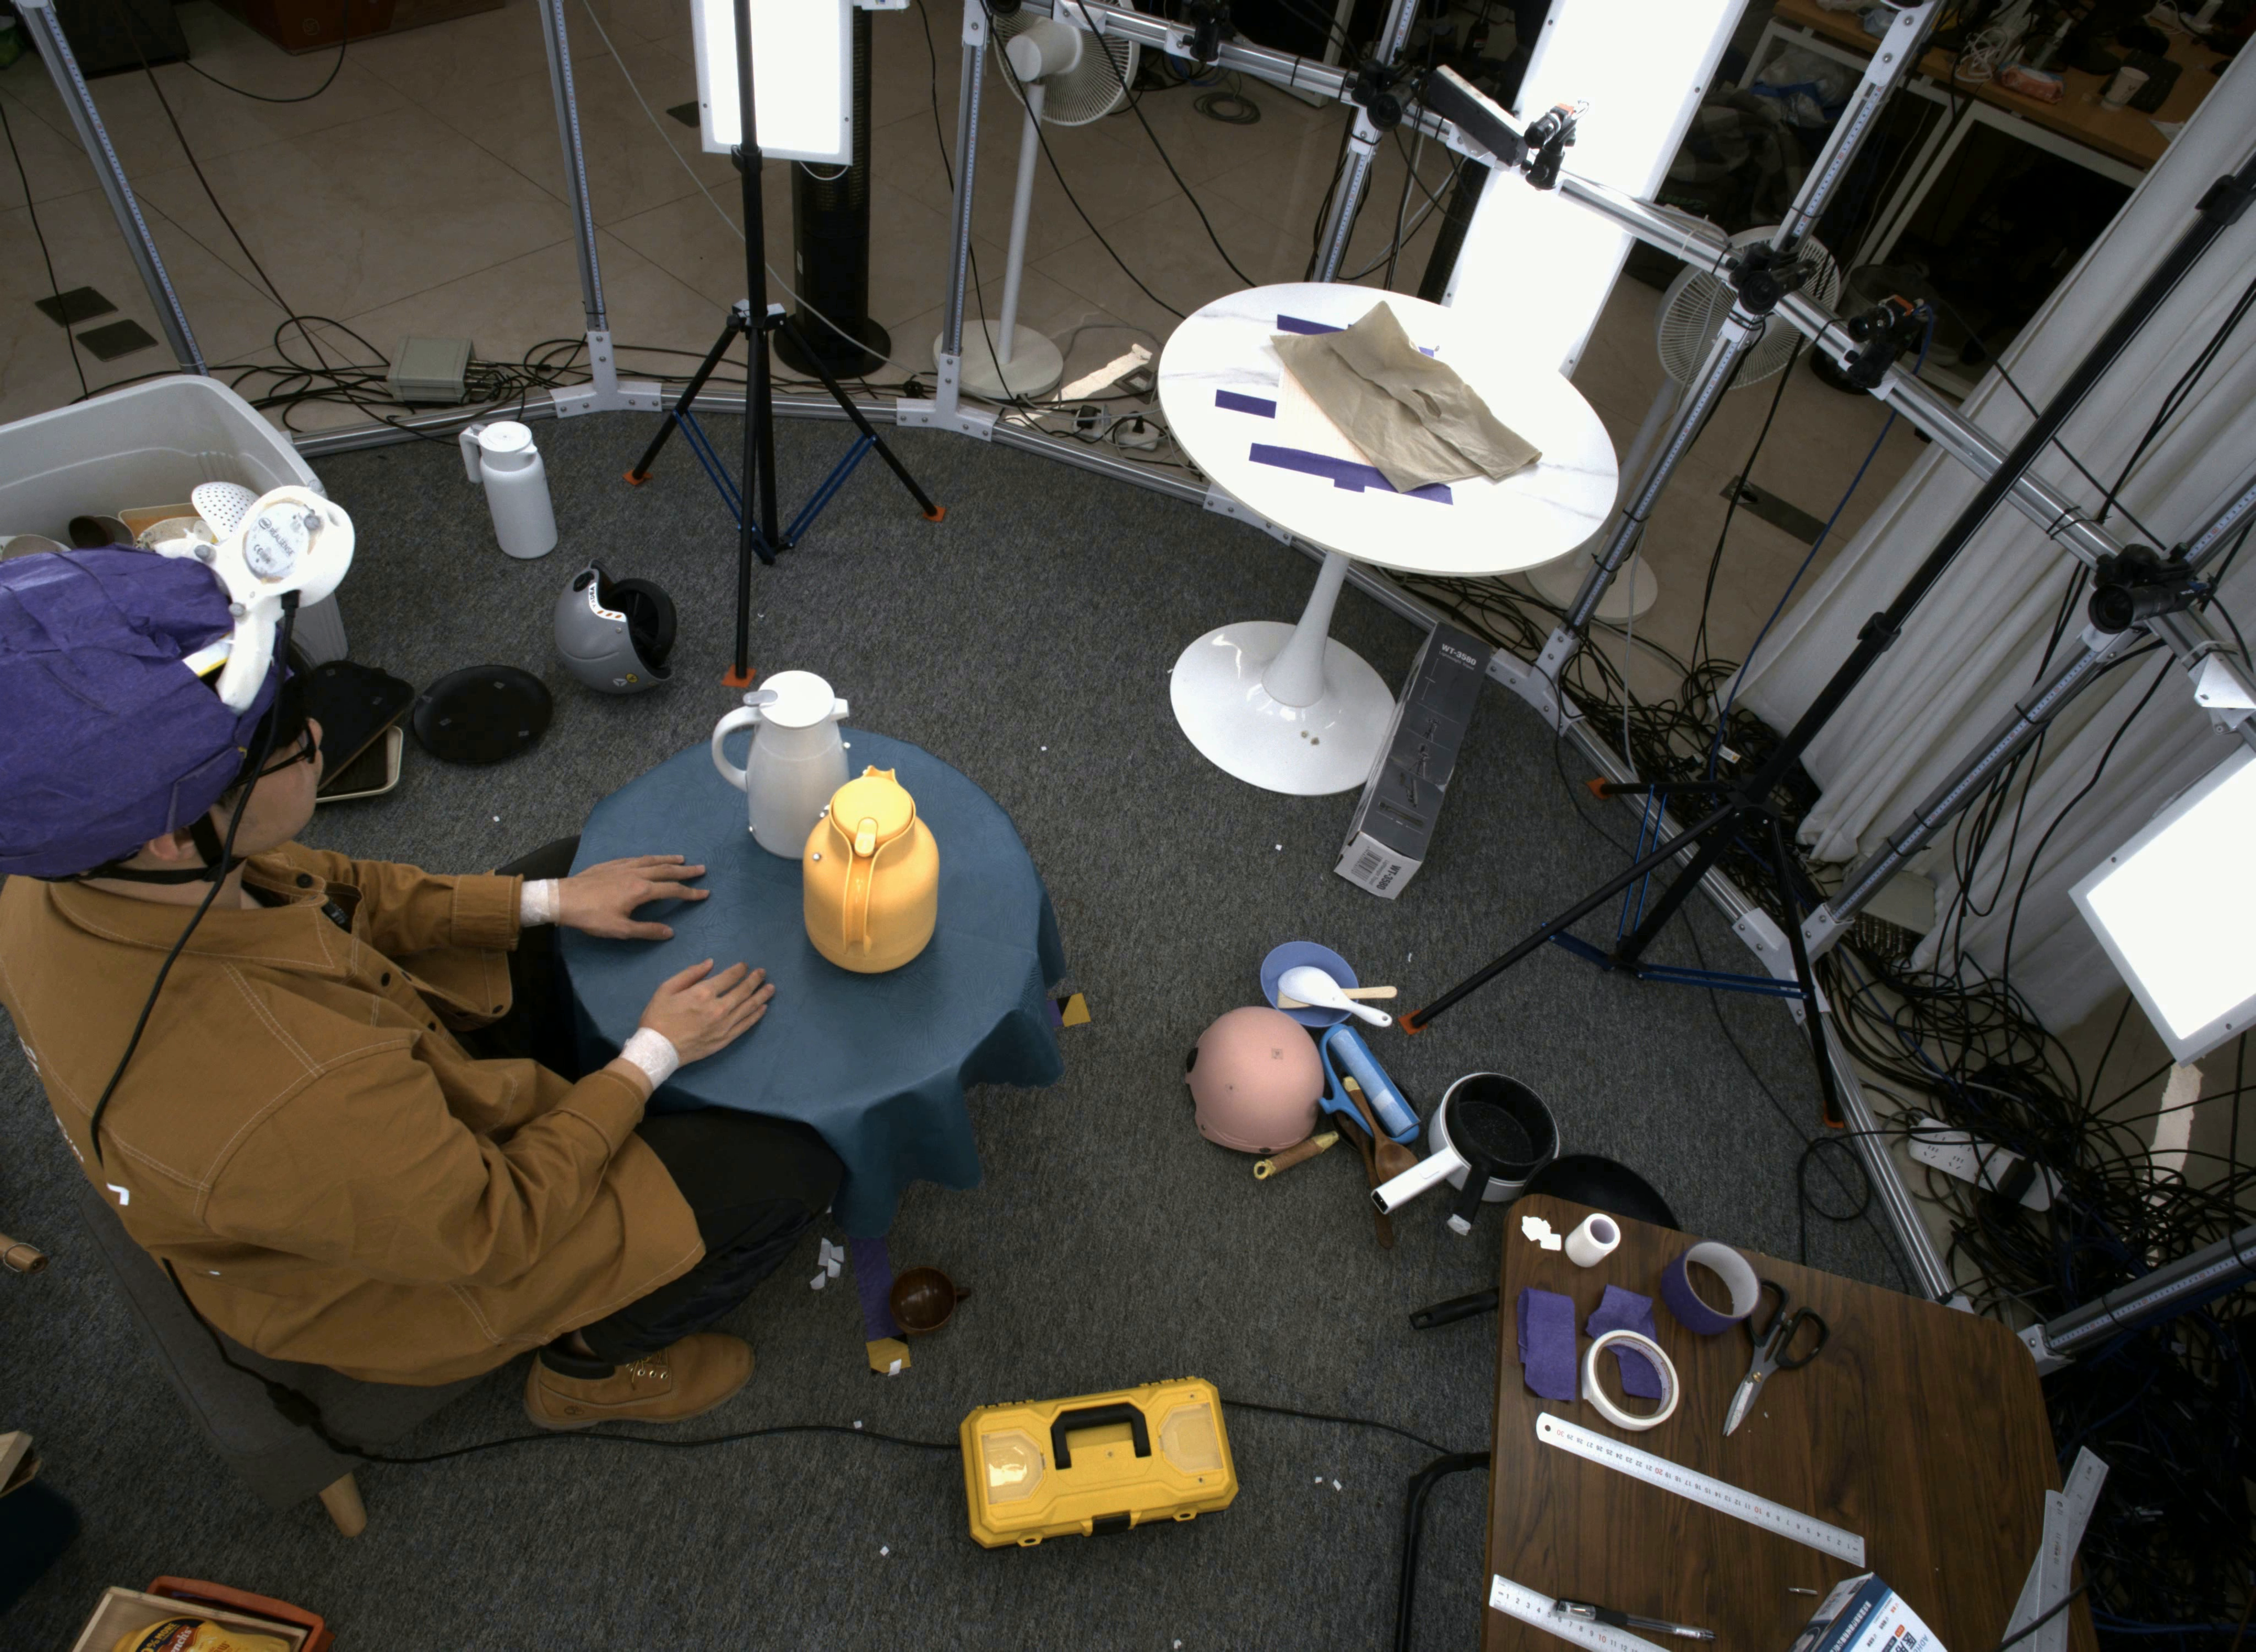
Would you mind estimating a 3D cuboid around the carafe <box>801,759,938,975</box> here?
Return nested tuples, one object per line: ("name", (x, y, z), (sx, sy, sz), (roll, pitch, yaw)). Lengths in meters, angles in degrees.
("carafe", (-0.310, 0.063, 1.536), (0.162, 0.267, 0.199), (8, 50, -3))

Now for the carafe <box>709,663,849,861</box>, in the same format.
("carafe", (-0.435, -0.084, 1.620), (0.168, 0.254, 0.129), (-4, 53, -14))
